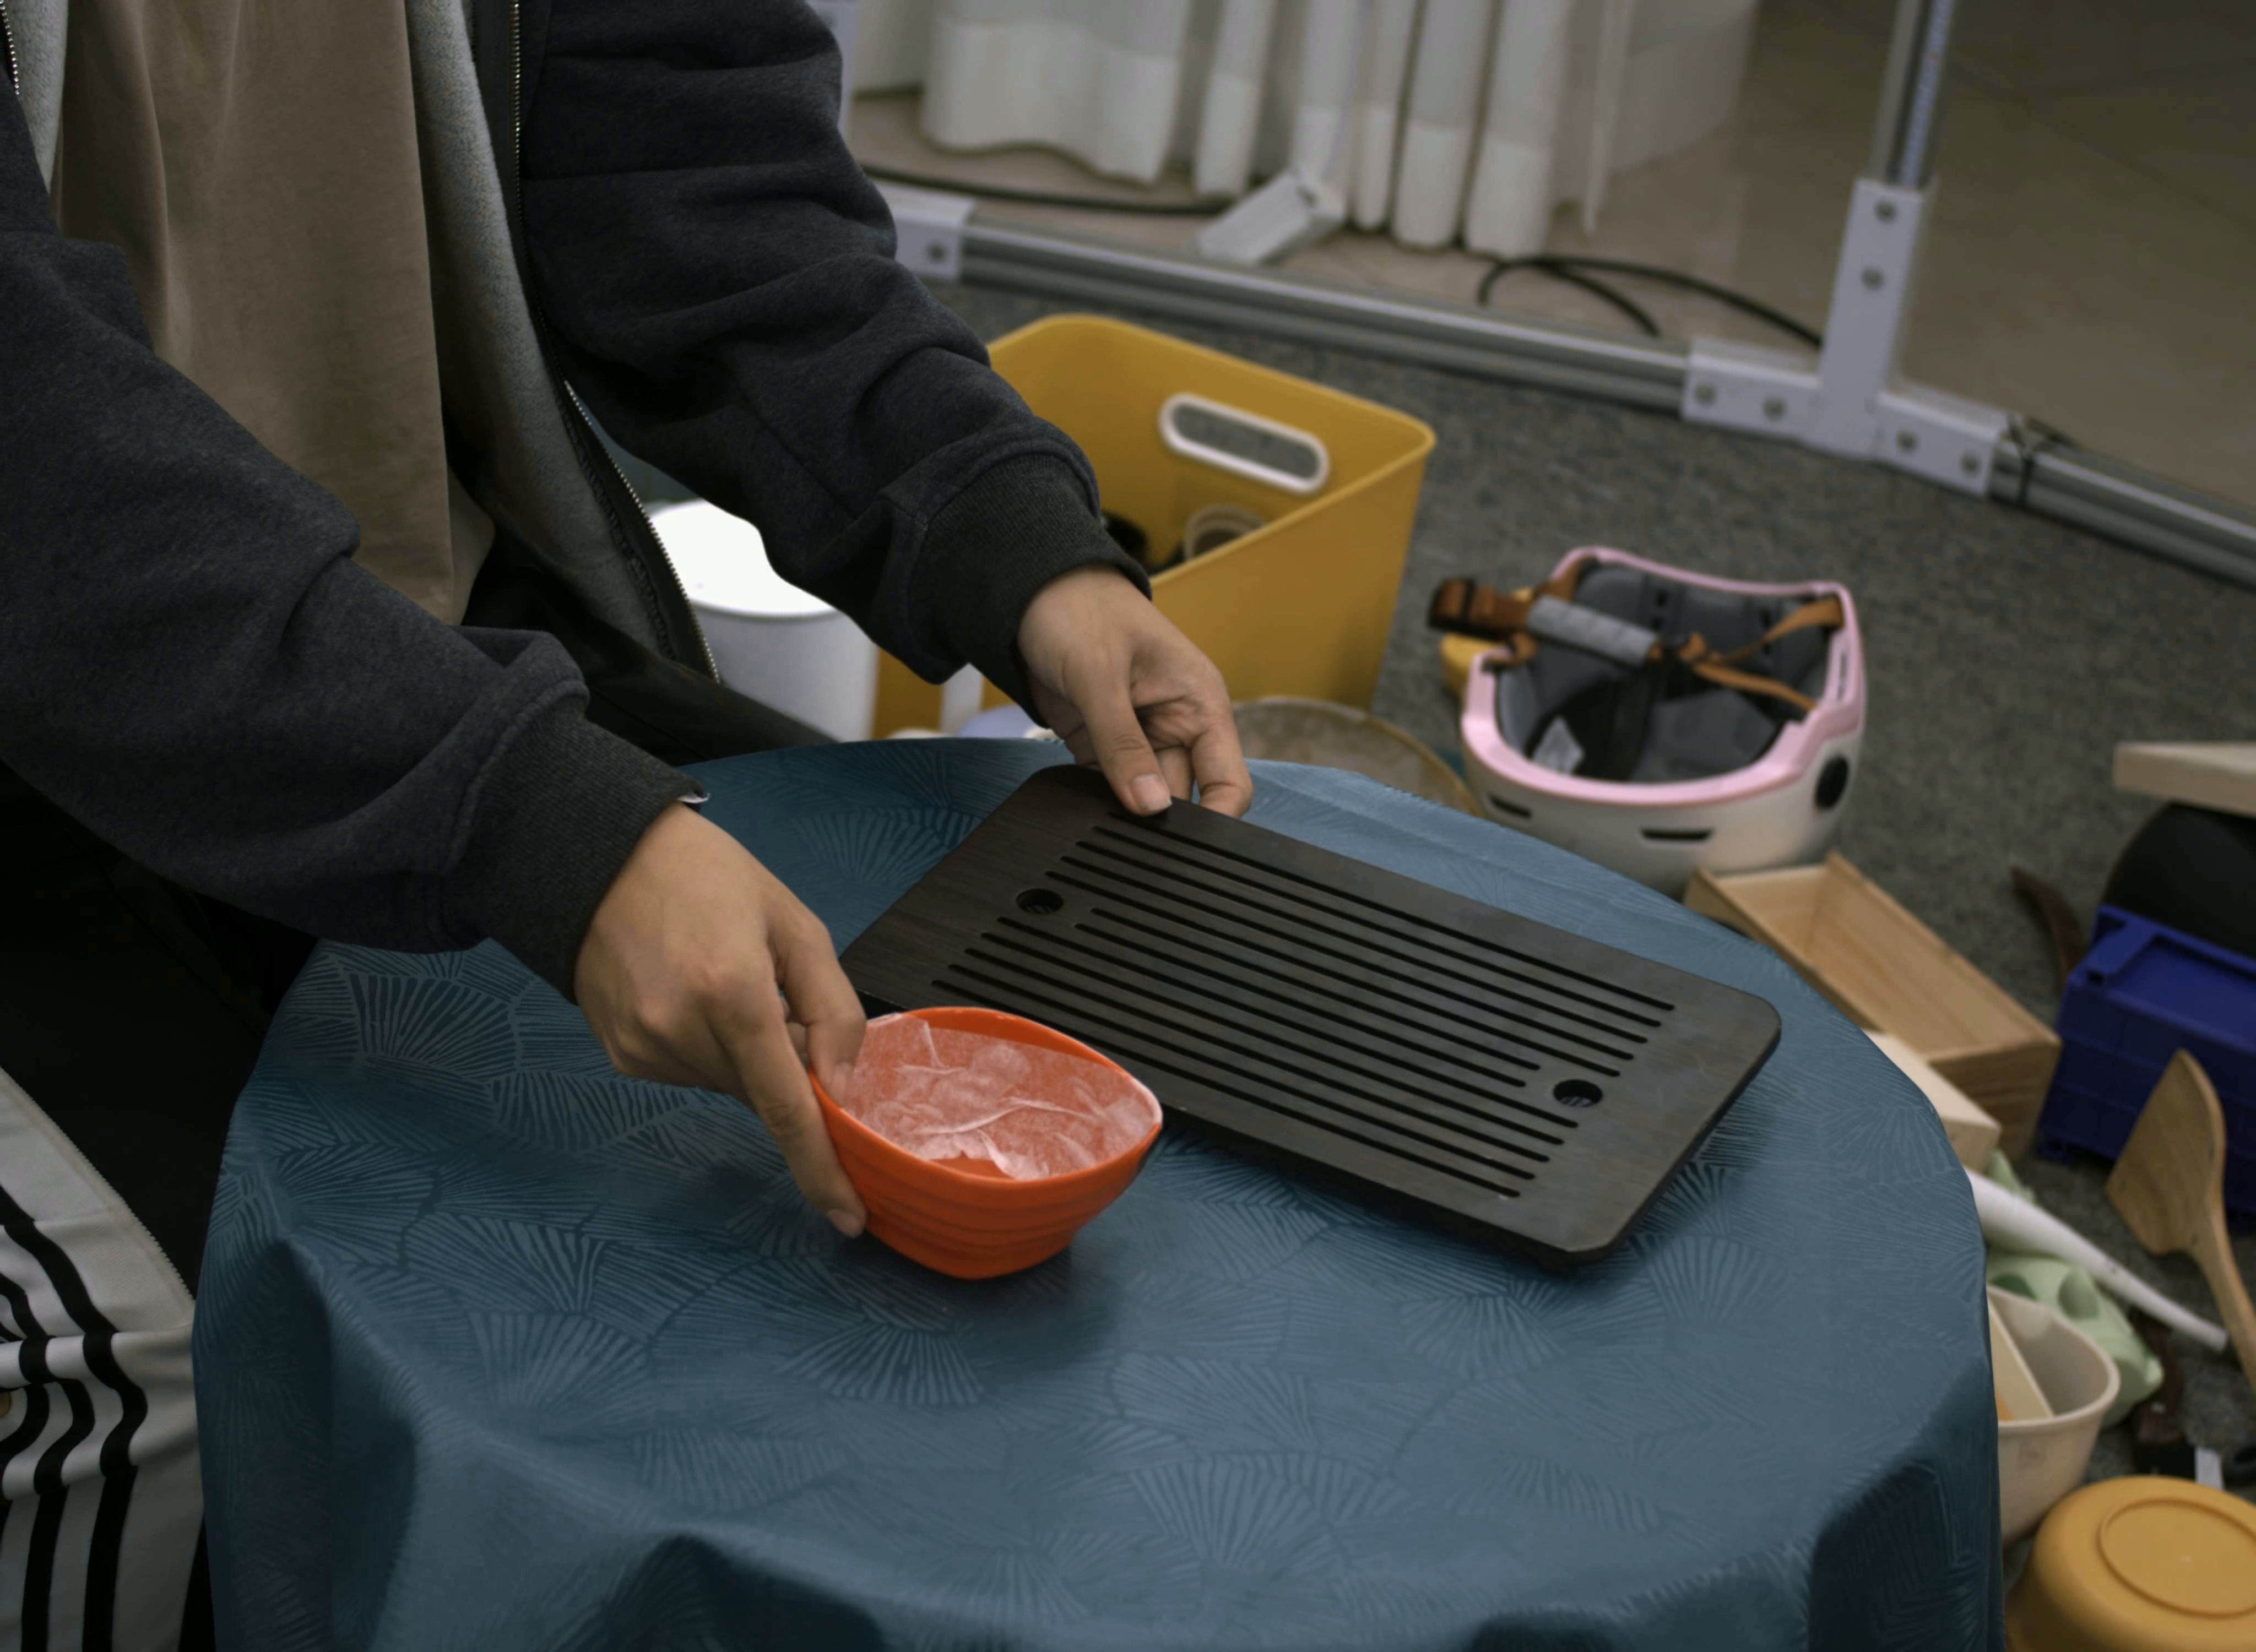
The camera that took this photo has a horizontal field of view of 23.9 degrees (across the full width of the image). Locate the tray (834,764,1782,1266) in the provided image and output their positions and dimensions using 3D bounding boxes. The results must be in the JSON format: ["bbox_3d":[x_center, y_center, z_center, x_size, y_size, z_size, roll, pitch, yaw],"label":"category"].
[{"bbox_3d":[0.063,0.065,1.890,0.307,0.018,0.170,19,37,23],"label":"tray"}]

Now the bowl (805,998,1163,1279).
[{"bbox_3d":[-0.051,0.107,1.752,0.118,0.051,0.119,9,27,-5],"label":"bowl"}]
